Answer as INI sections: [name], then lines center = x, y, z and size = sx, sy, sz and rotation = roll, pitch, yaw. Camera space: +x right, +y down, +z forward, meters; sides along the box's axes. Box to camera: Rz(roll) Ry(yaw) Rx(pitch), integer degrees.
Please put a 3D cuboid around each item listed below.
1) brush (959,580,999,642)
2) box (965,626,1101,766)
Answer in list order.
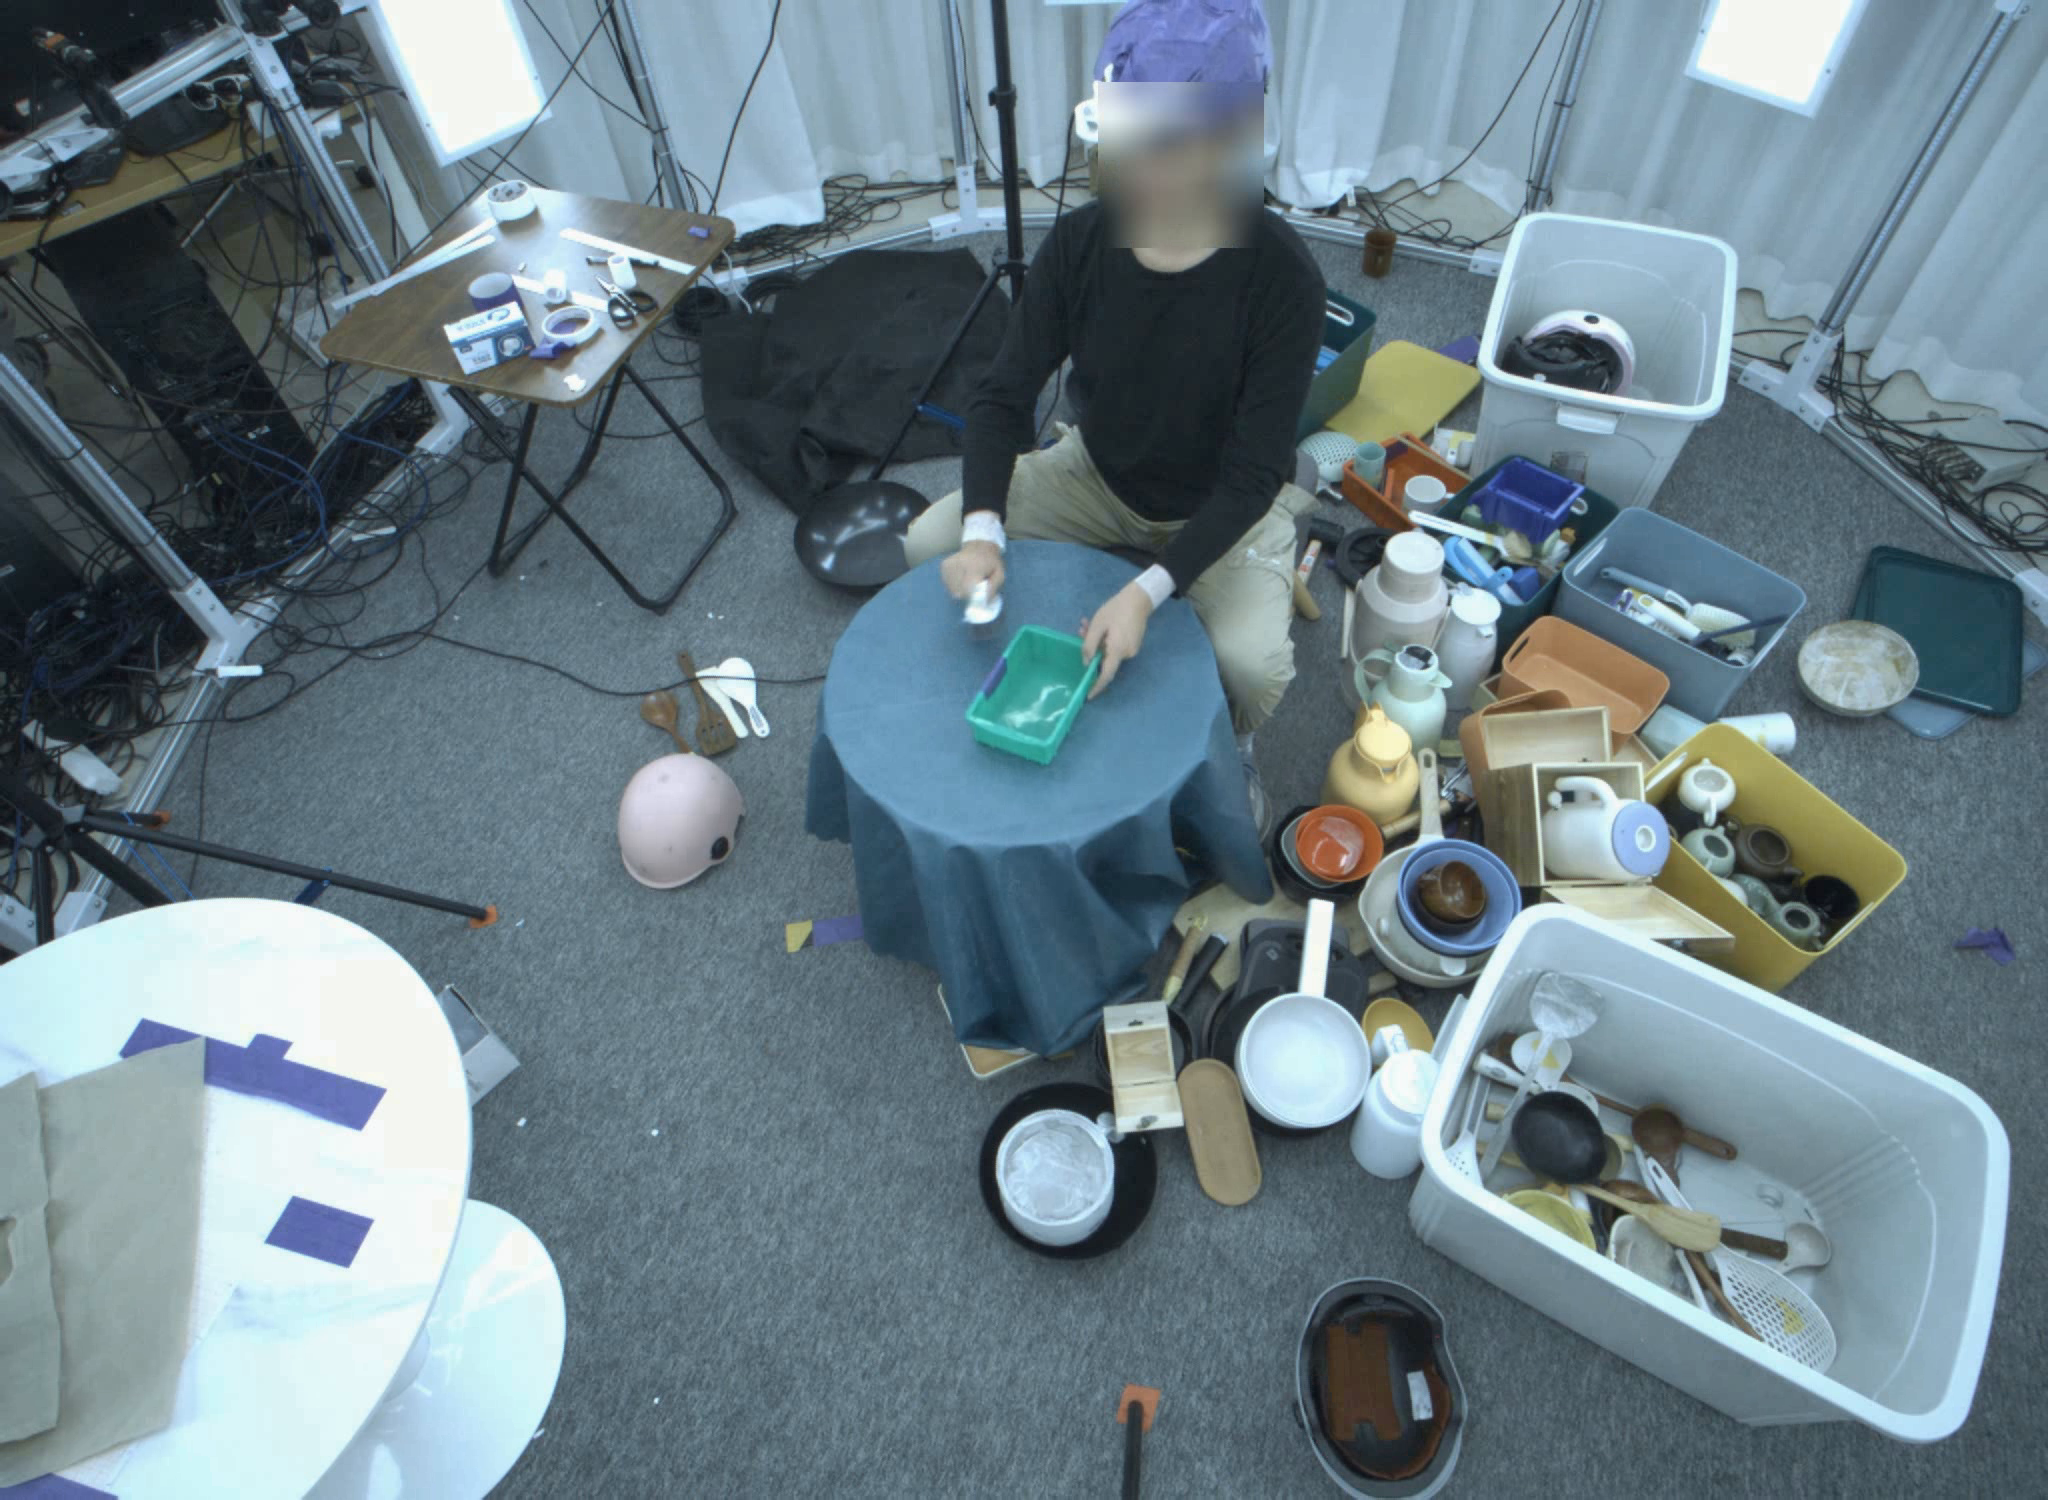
[brush]
center = -0.071, -0.213, 1.826
size = 0.050, 0.073, 0.099
rotation = -1, 30, 13
[box]
center = 0.017, -0.077, 1.803
size = 0.137, 0.066, 0.210
rotation = 18, 58, 17
